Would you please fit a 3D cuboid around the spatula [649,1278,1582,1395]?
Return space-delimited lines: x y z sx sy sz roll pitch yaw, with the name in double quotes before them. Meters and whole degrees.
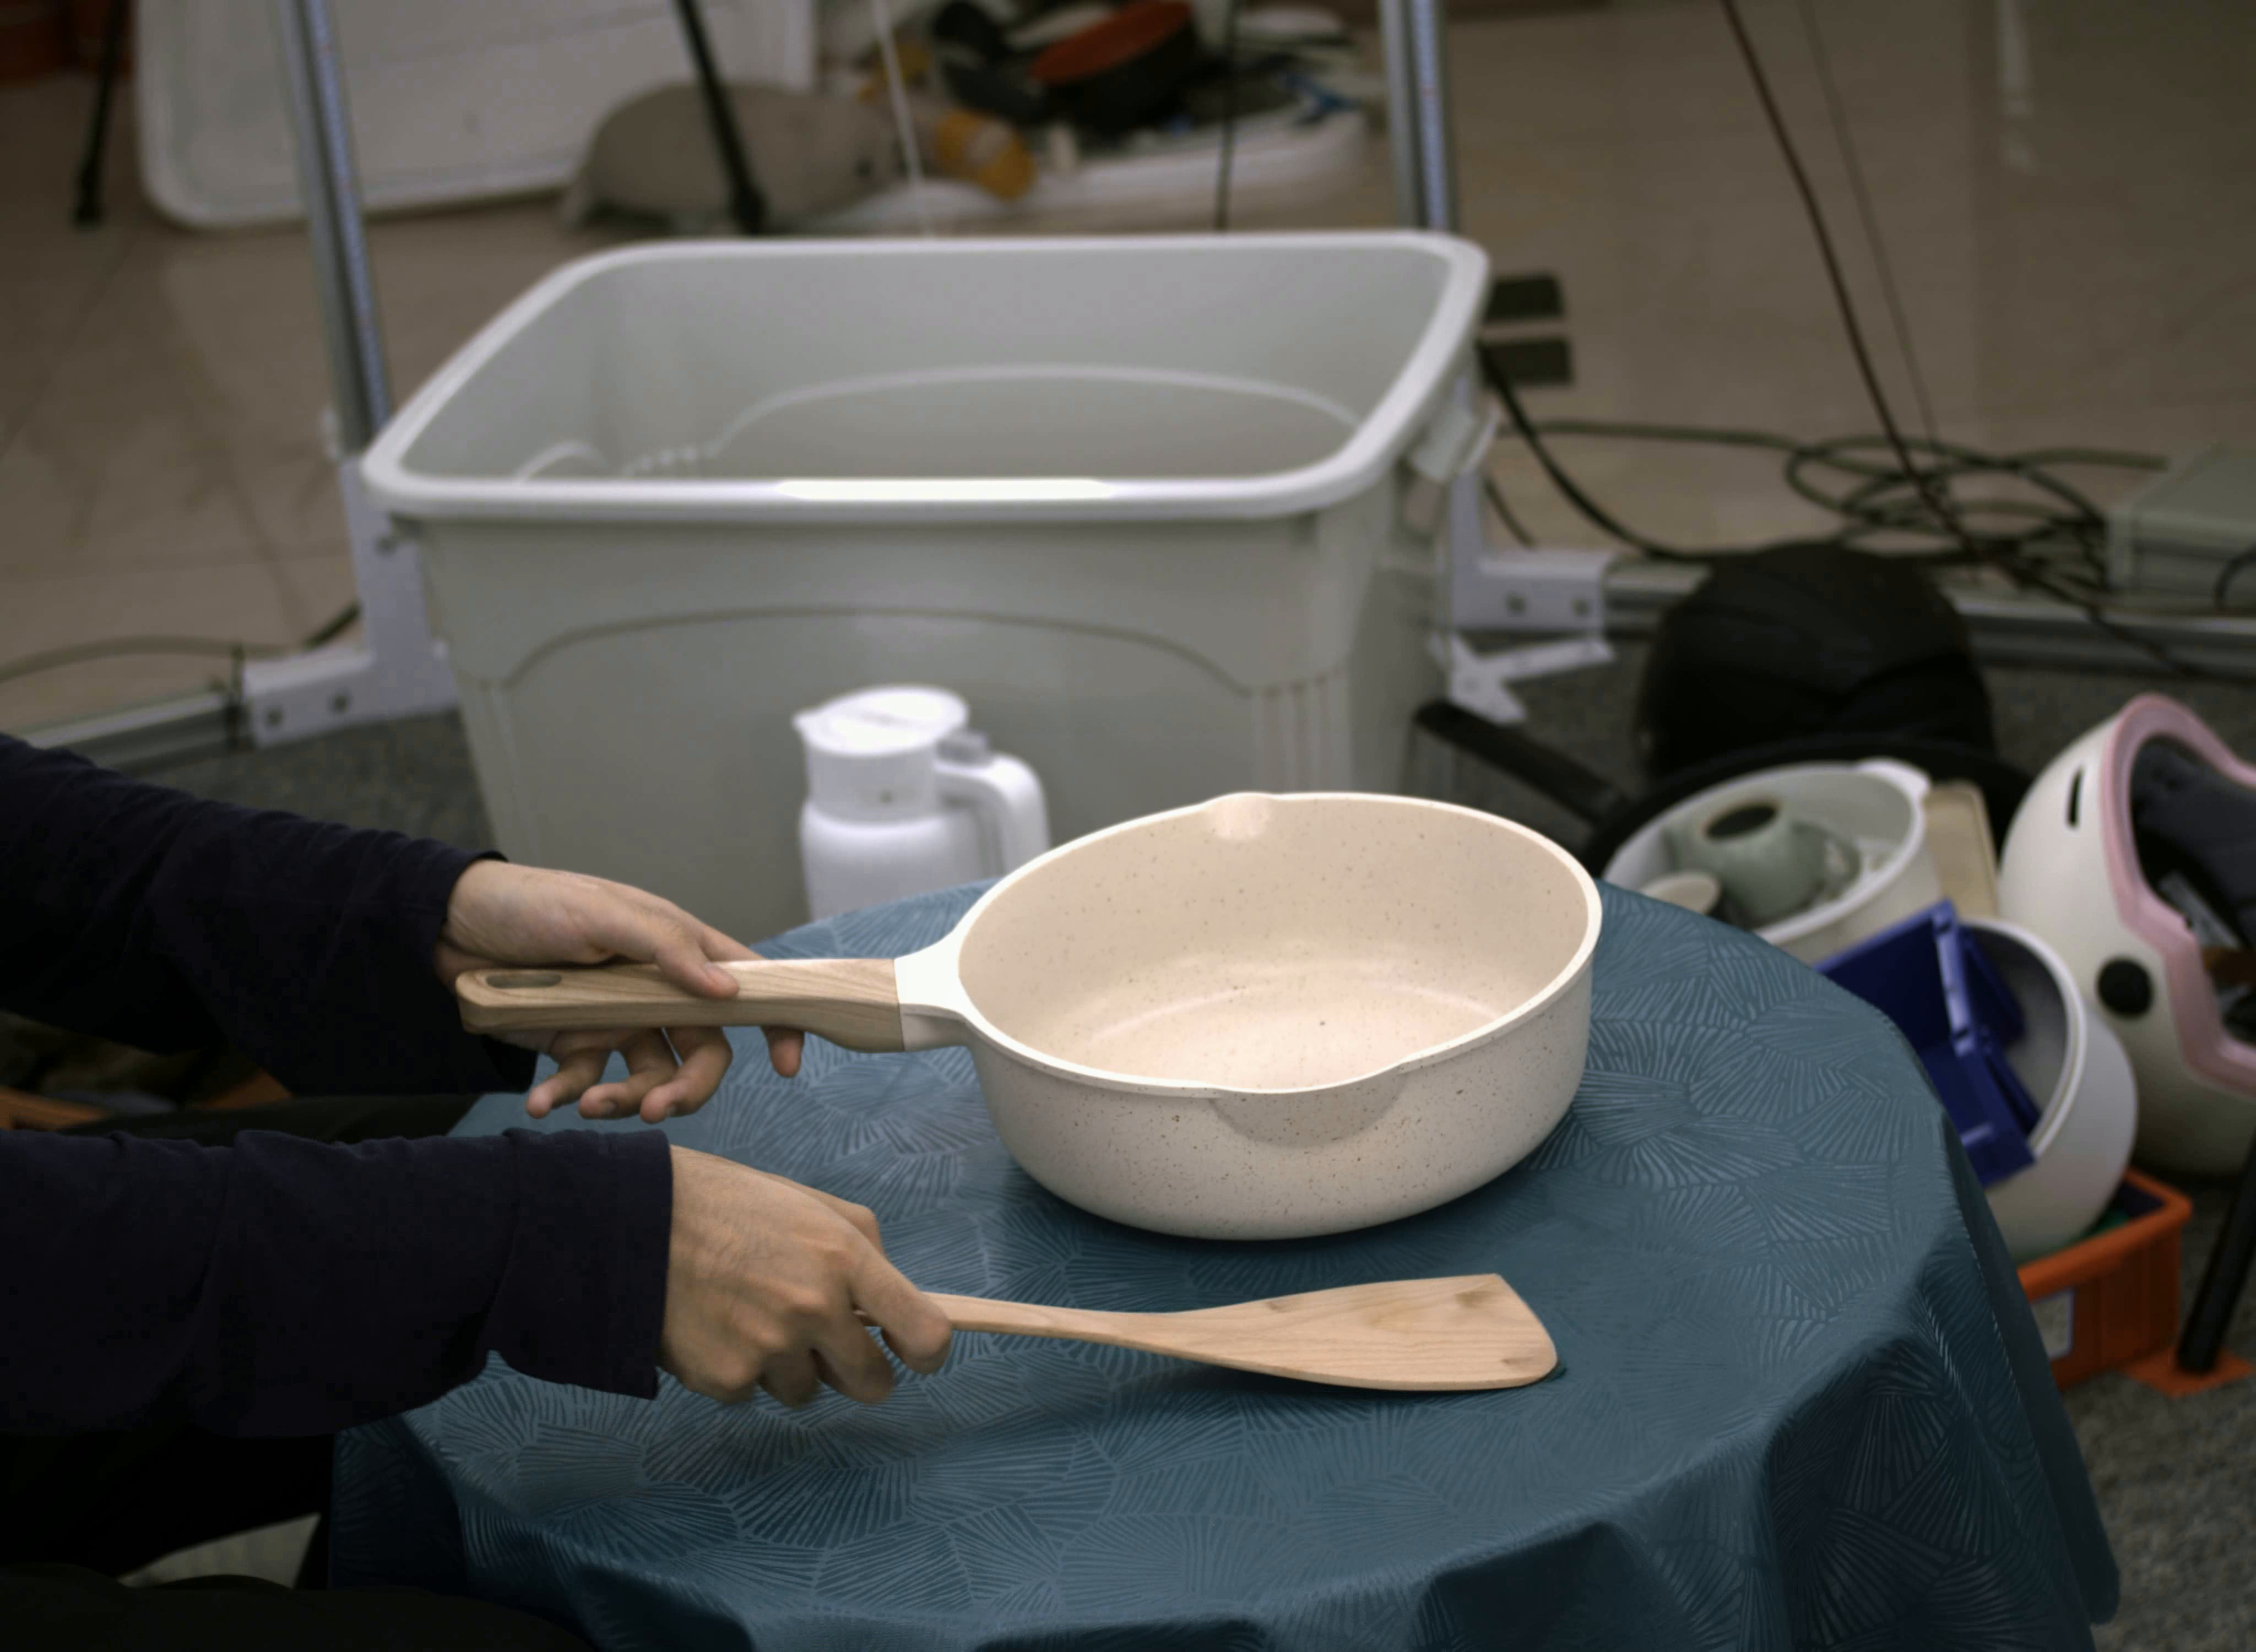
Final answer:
"spatula" -0.006 0.175 2.008 0.327 0.017 0.079 4 24 -7

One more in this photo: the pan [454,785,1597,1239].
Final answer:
"pan" -0.034 0.082 2.166 0.434 0.103 0.259 -8 26 -3
